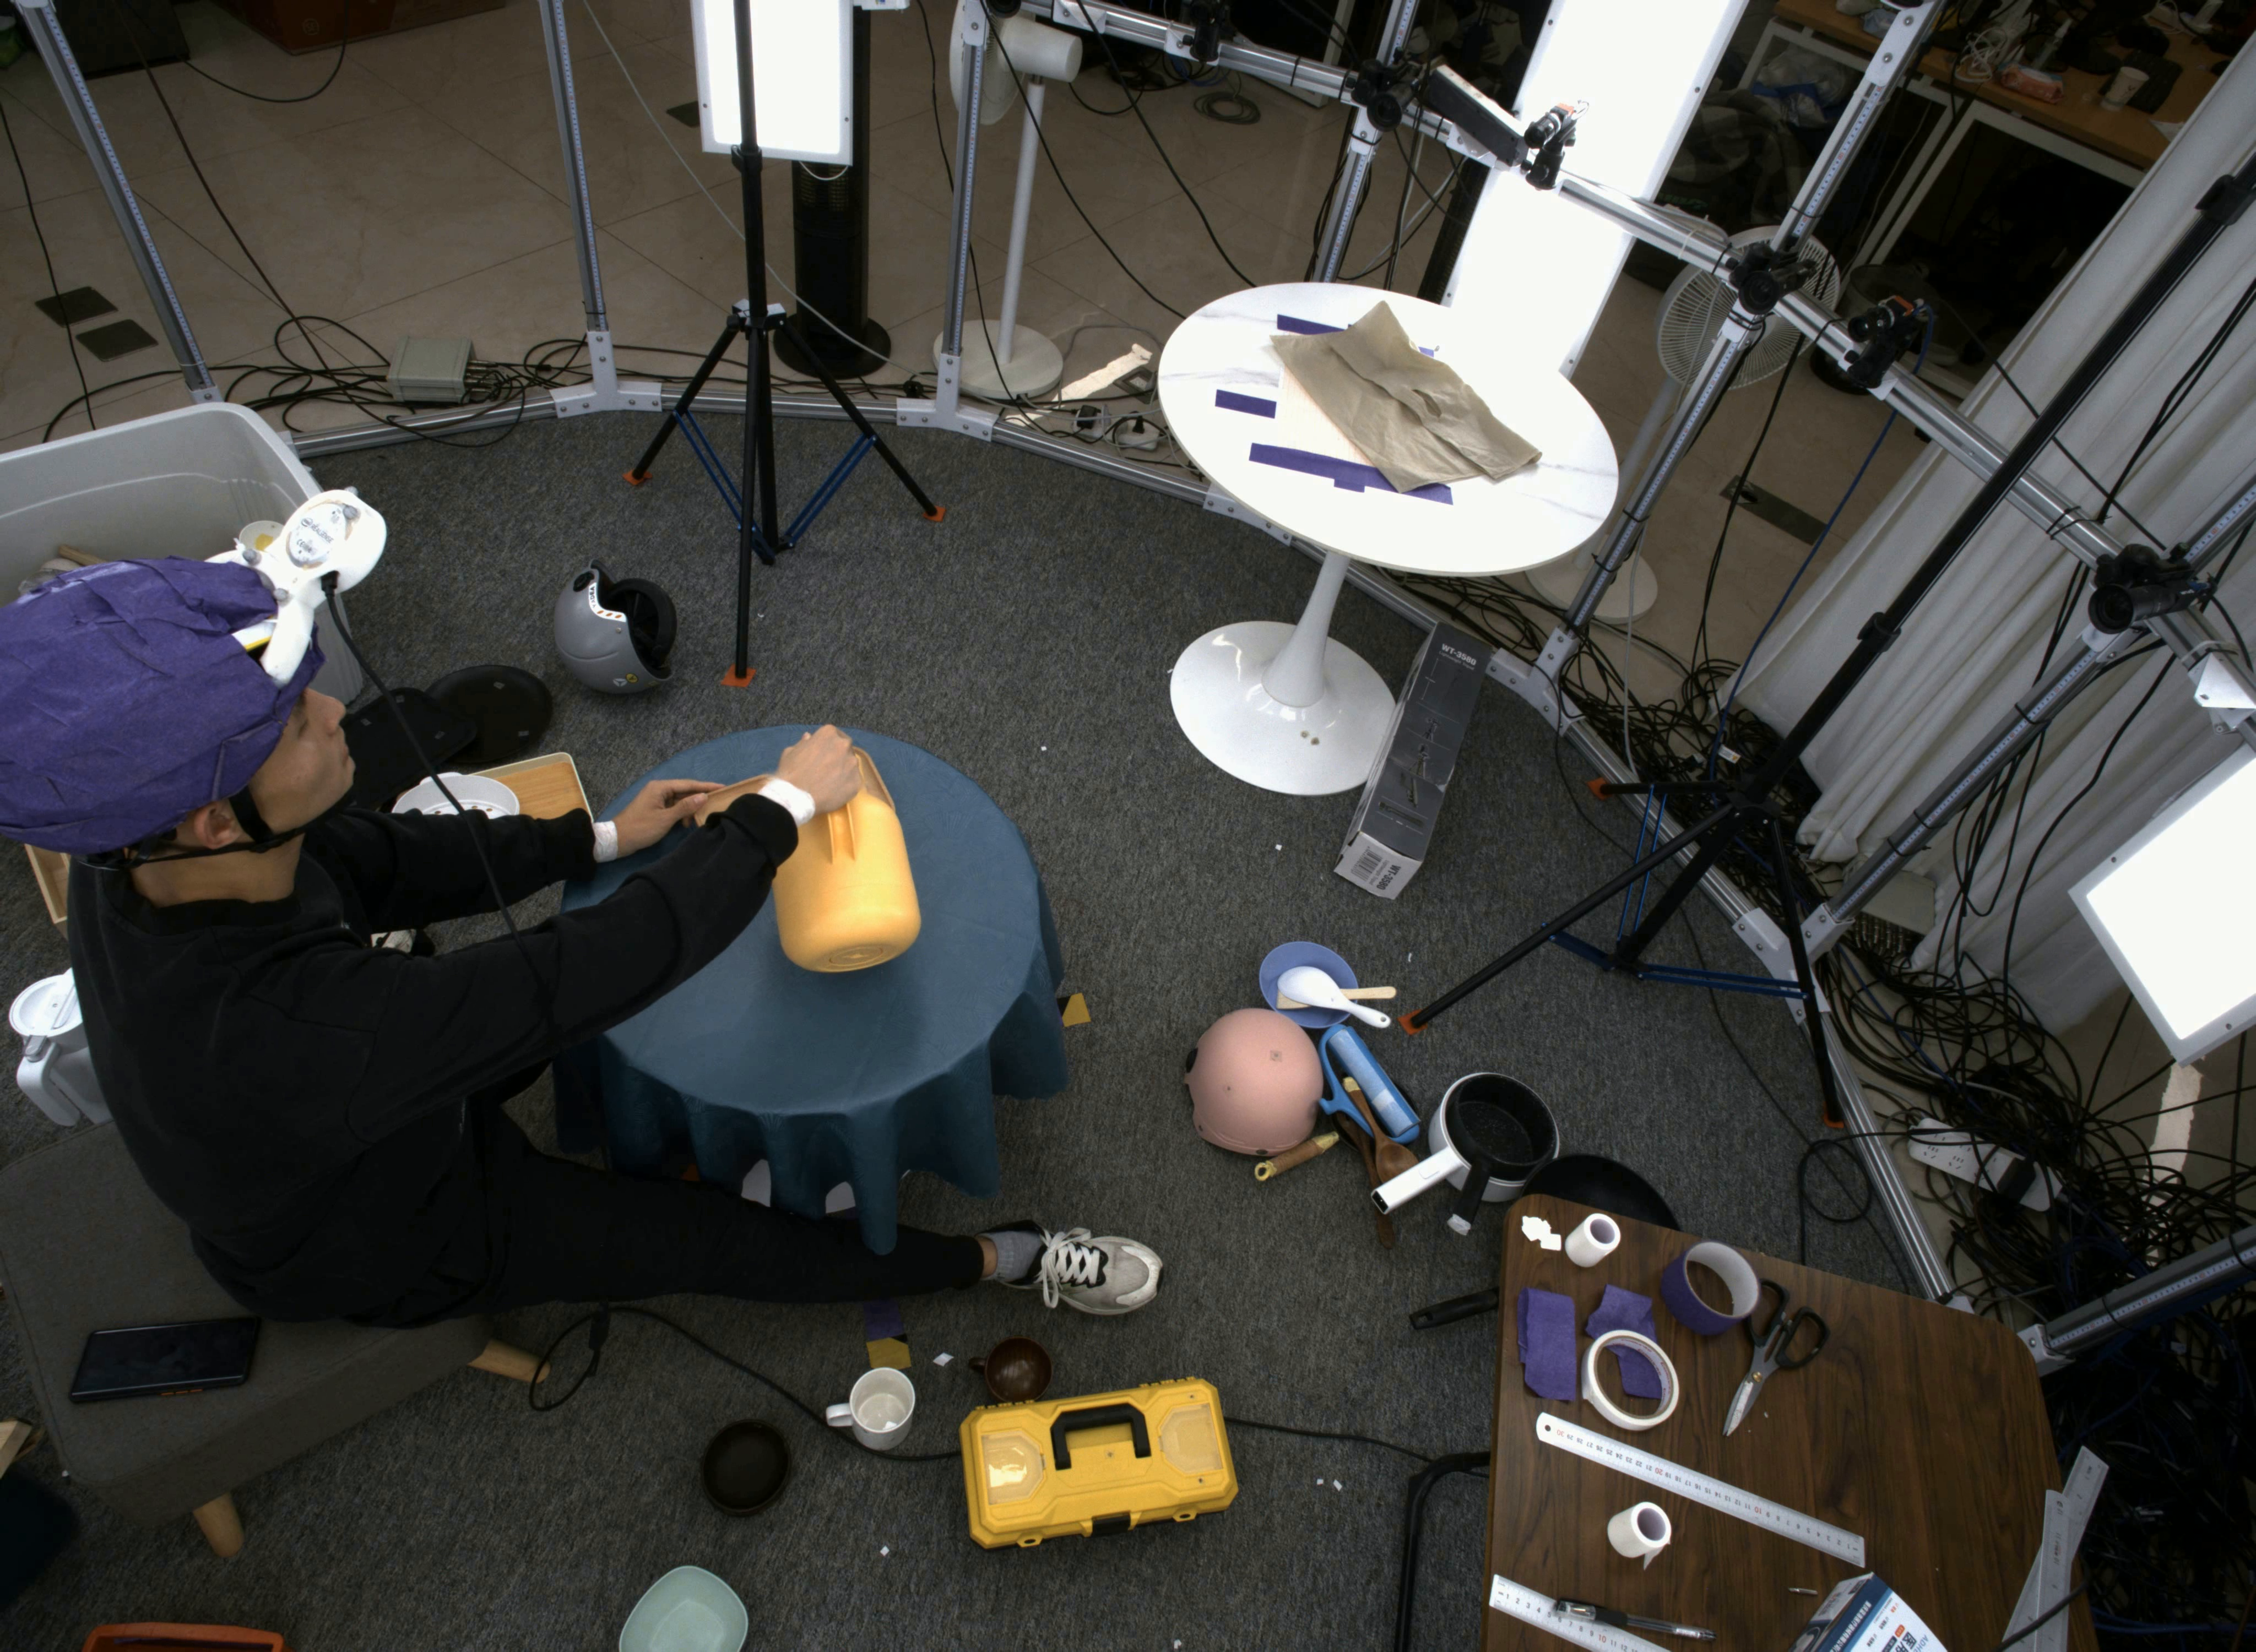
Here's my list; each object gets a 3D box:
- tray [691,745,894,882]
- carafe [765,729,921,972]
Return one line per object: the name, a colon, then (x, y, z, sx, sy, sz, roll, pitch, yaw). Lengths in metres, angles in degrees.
tray: (-0.436, -0.019, 1.695, 0.252, 0.023, 0.129, -22, 77, -30)
carafe: (-0.343, 0.020, 1.509, 0.163, 0.205, 0.257, -12, 69, -14)
